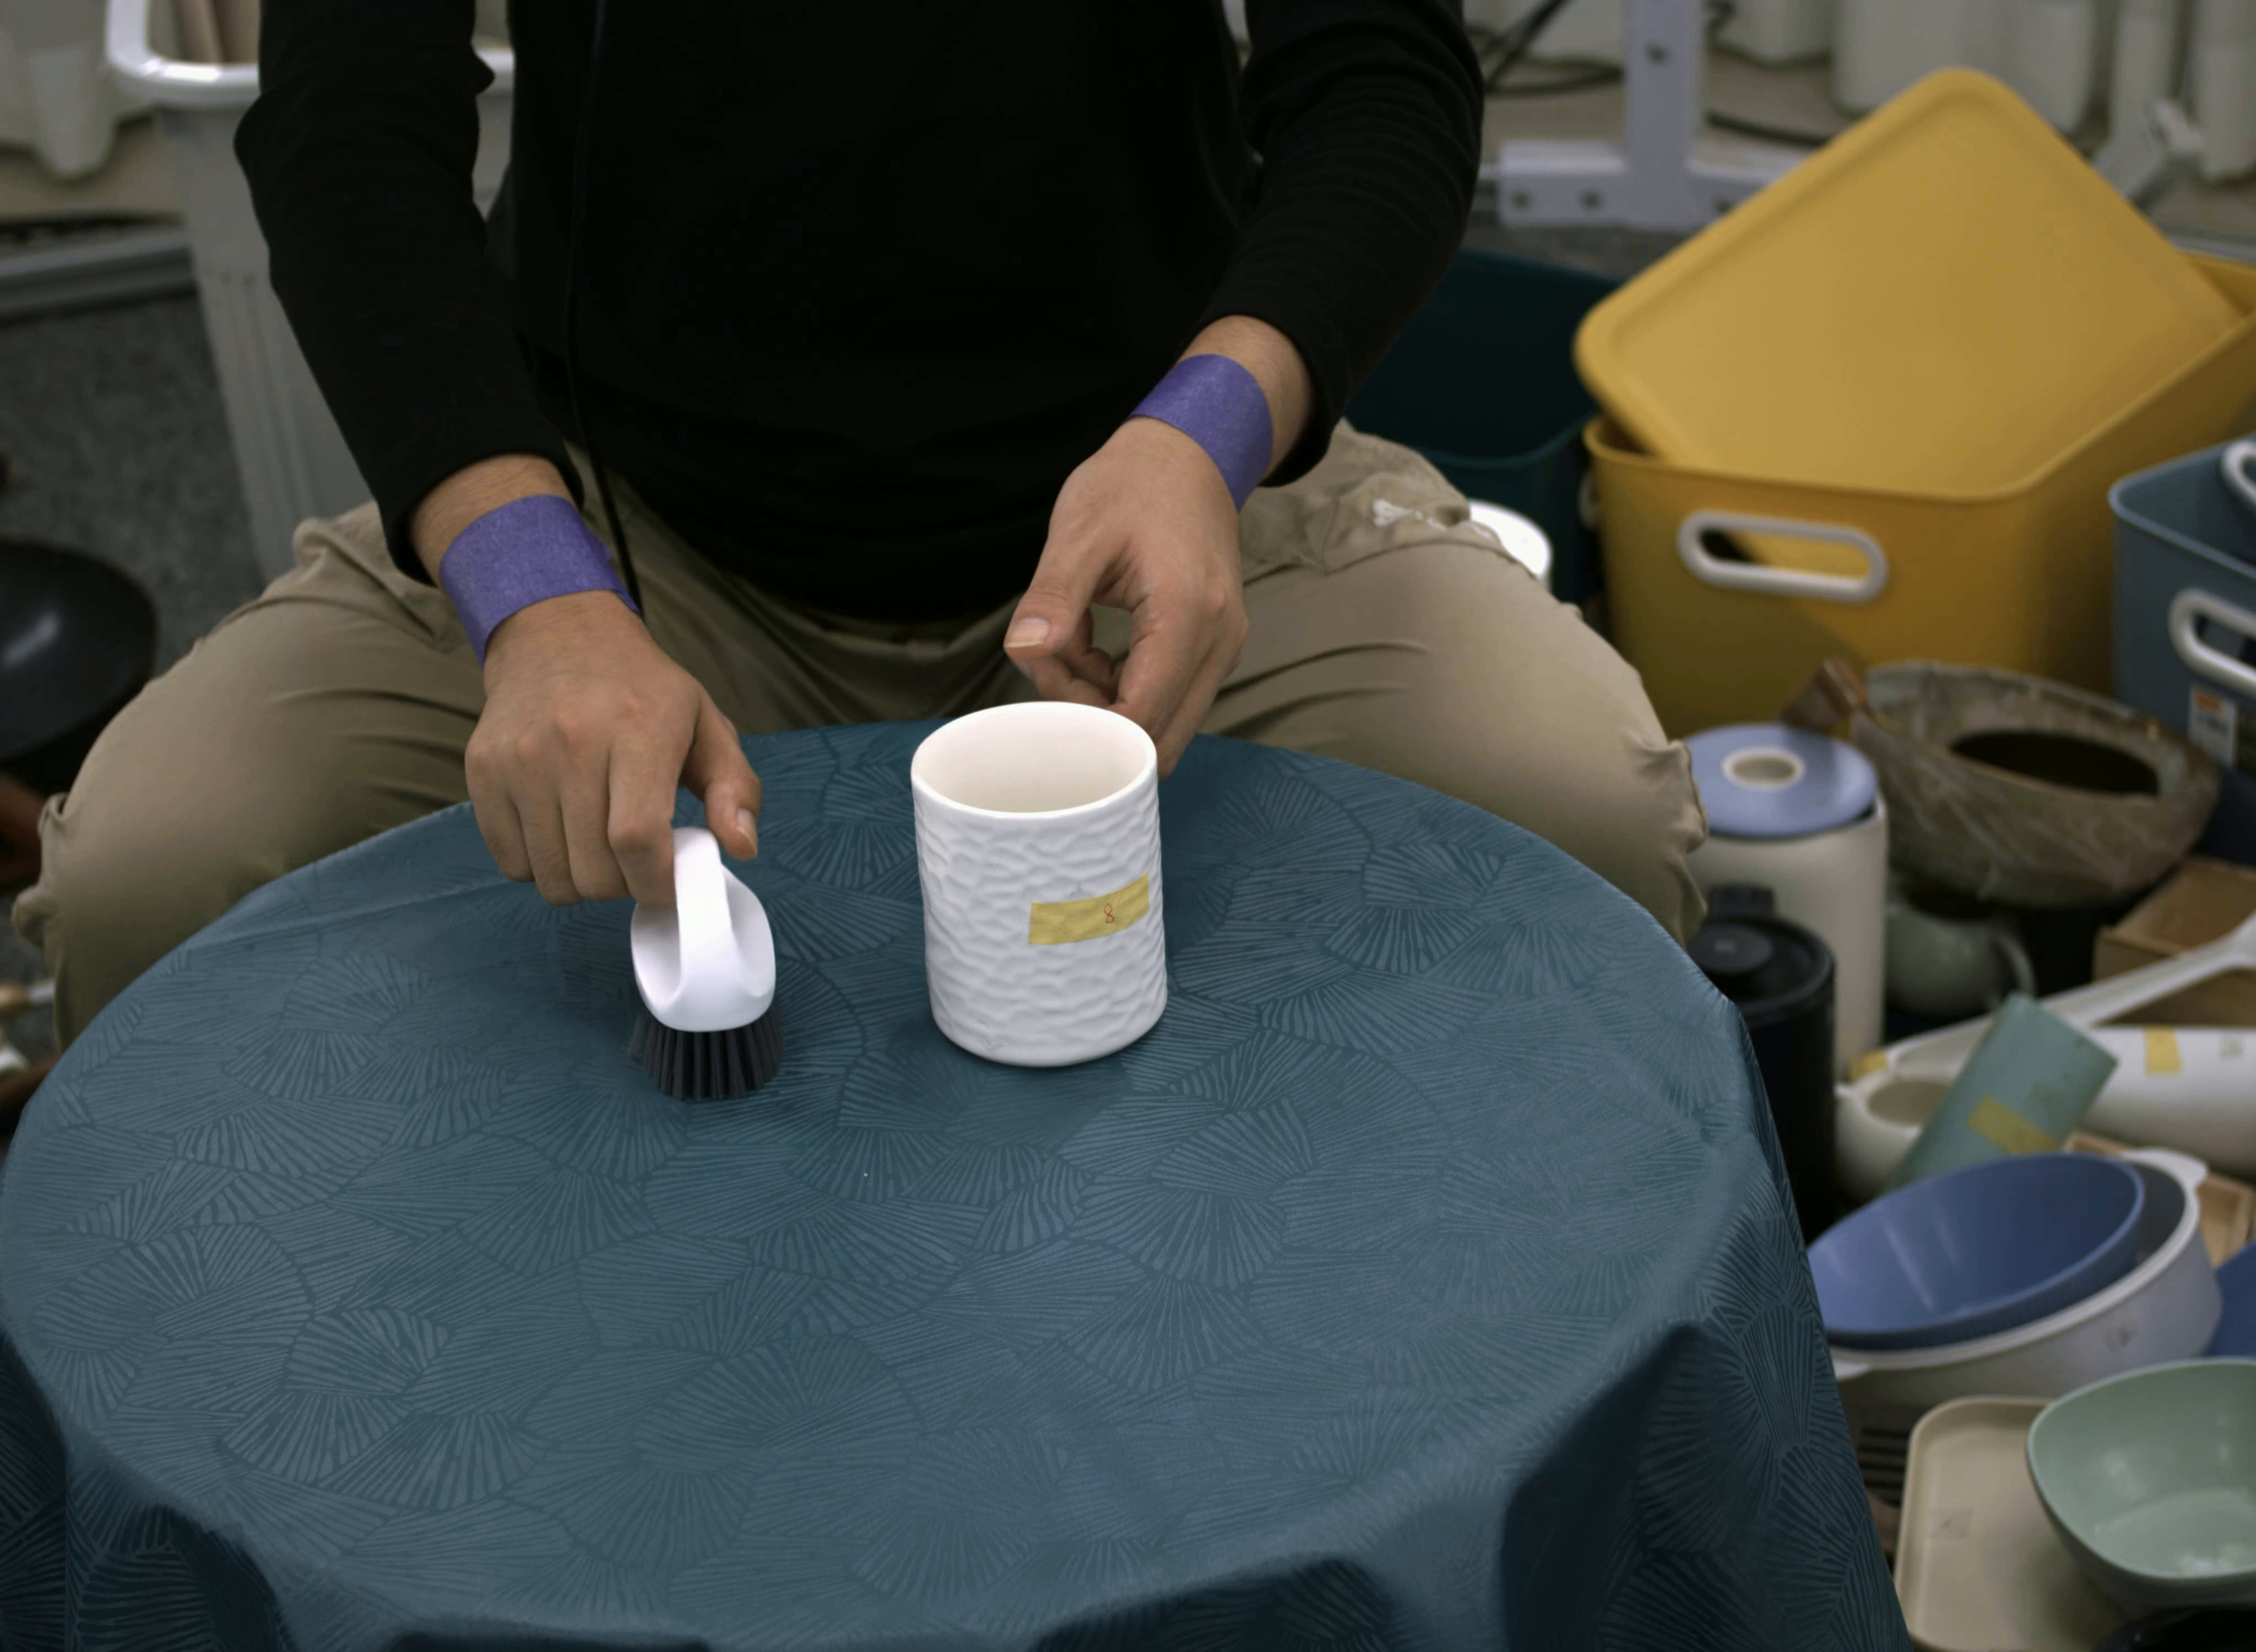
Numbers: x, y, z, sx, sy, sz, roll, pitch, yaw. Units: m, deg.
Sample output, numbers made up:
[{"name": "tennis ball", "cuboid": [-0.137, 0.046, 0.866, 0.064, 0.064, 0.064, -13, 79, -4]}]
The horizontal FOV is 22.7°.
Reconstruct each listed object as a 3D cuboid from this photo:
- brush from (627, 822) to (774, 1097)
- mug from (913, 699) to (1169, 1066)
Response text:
[{"name": "brush", "cuboid": [-0.150, 0.040, 1.954, 0.050, 0.072, 0.100, -4, 28, -5]}, {"name": "mug", "cuboid": [-0.031, 0.013, 1.963, 0.085, 0.101, 0.120, -6, 26, -6]}]
